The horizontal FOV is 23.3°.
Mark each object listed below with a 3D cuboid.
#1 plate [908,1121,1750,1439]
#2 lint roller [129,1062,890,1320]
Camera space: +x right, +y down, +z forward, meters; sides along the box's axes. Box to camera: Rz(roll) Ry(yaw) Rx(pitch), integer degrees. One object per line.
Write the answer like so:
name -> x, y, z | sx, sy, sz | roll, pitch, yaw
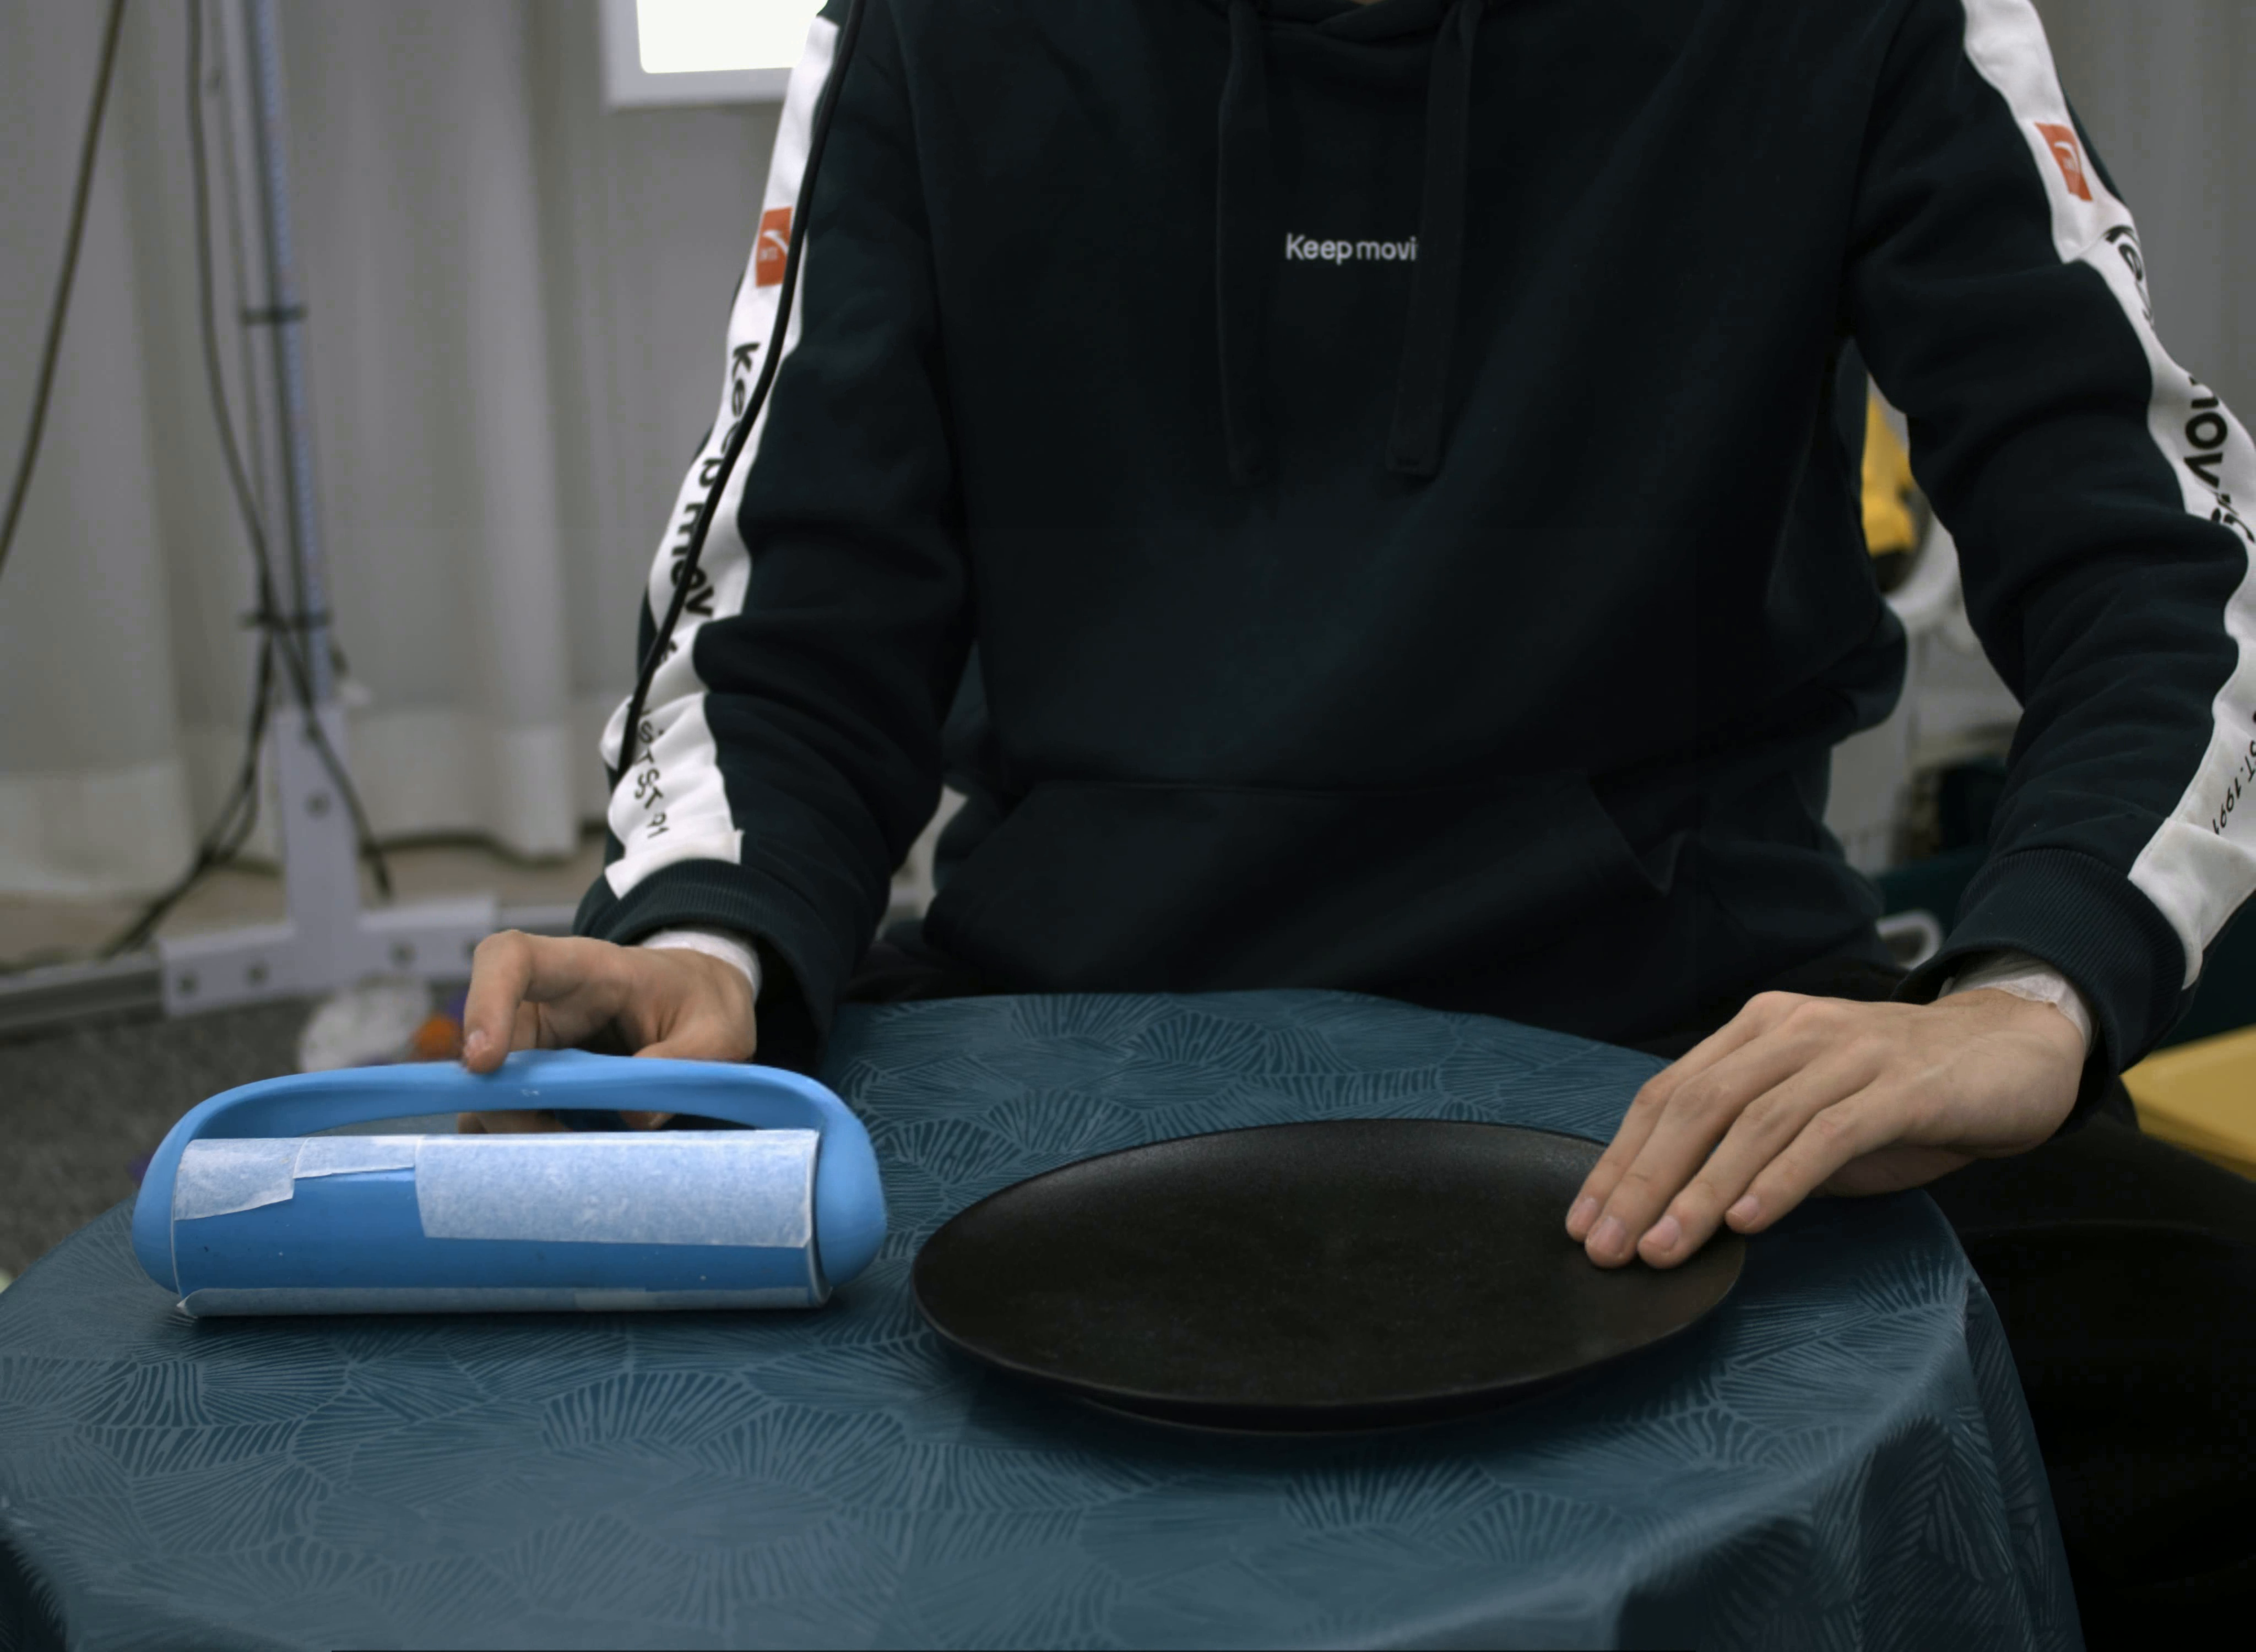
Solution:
plate -> 0.058, 0.134, 1.586 | 0.243, 0.023, 0.246 | -3, 15, 0
lint roller -> -0.182, 0.103, 1.687 | 0.228, 0.067, 0.181 | -3, 14, 3
